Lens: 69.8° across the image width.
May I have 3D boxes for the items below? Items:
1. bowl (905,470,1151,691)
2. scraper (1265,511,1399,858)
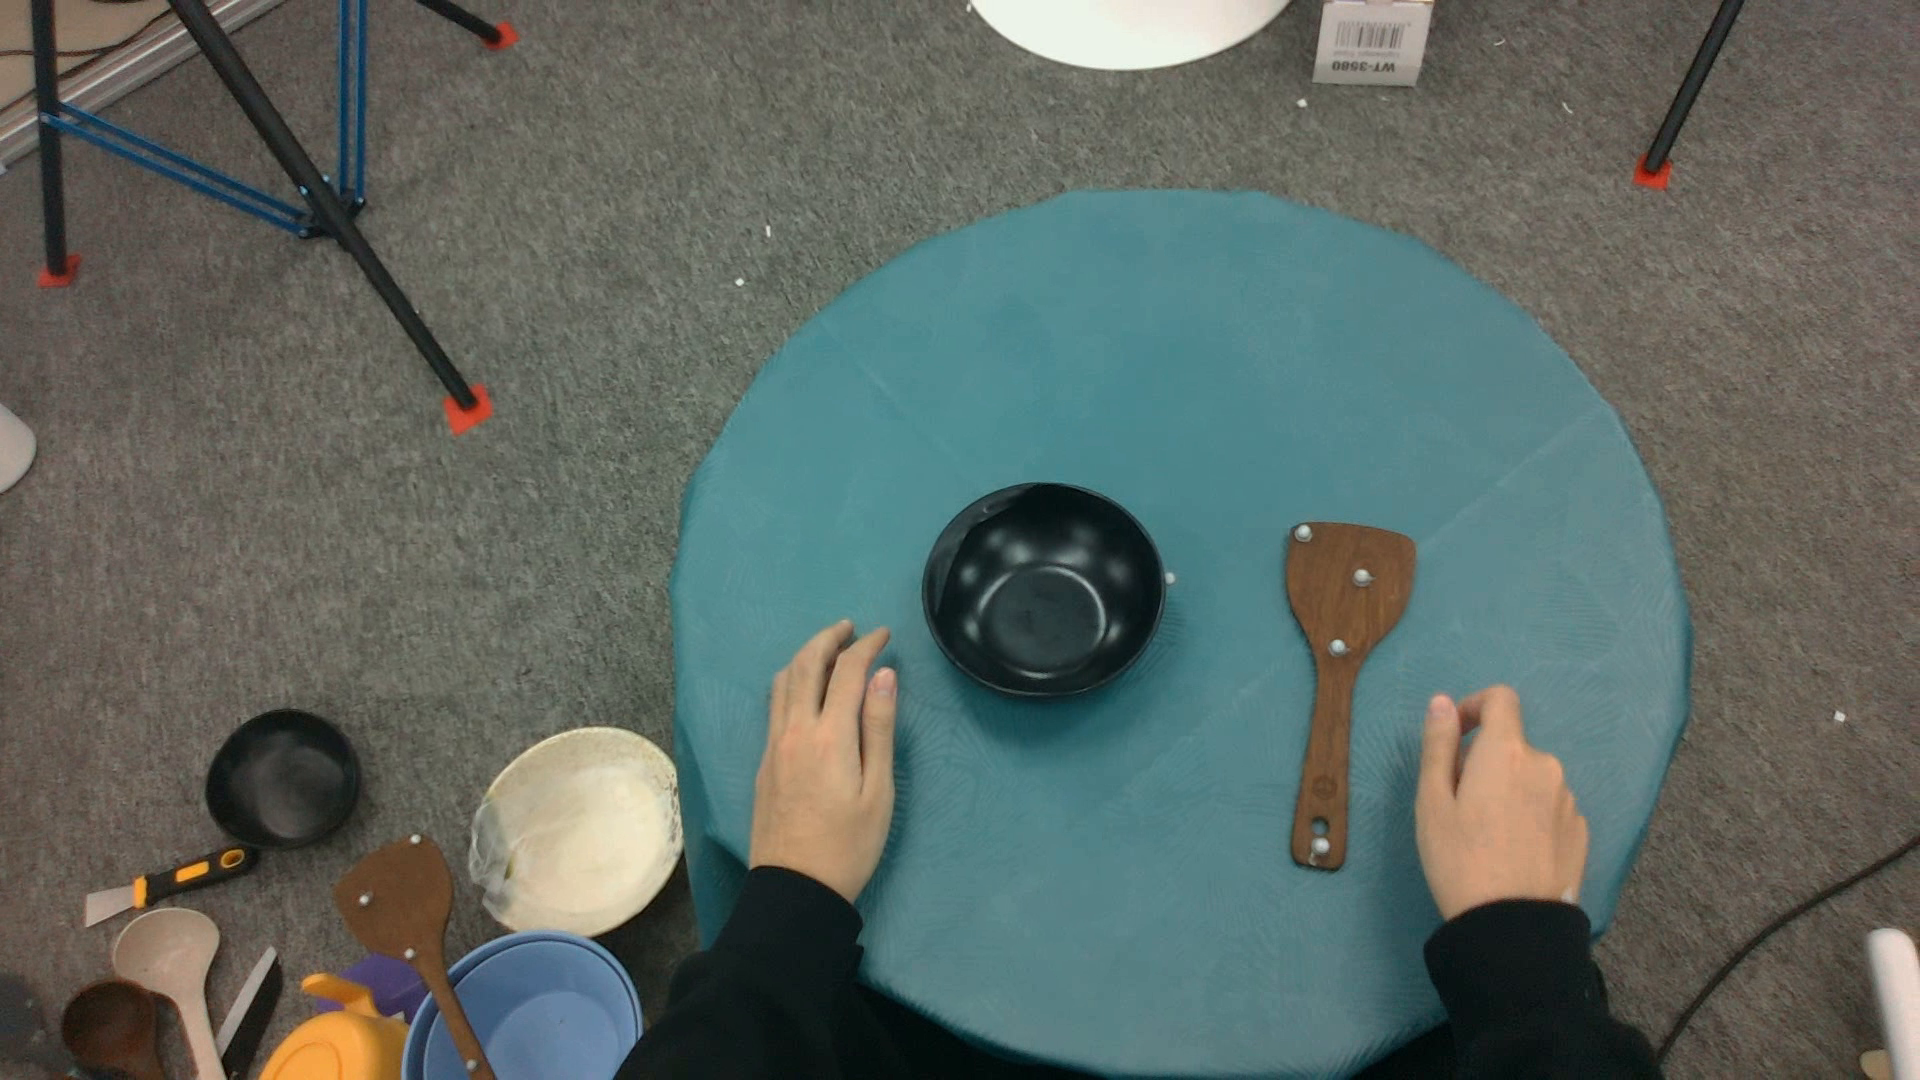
[{"bbox_3d":[0.038,0.030,0.794,0.140,0.049,0.140,0,59,1],"label":"bowl"},{"bbox_3d":[0.203,0.077,0.779,0.076,0.011,0.212,9,62,10],"label":"scraper"}]
